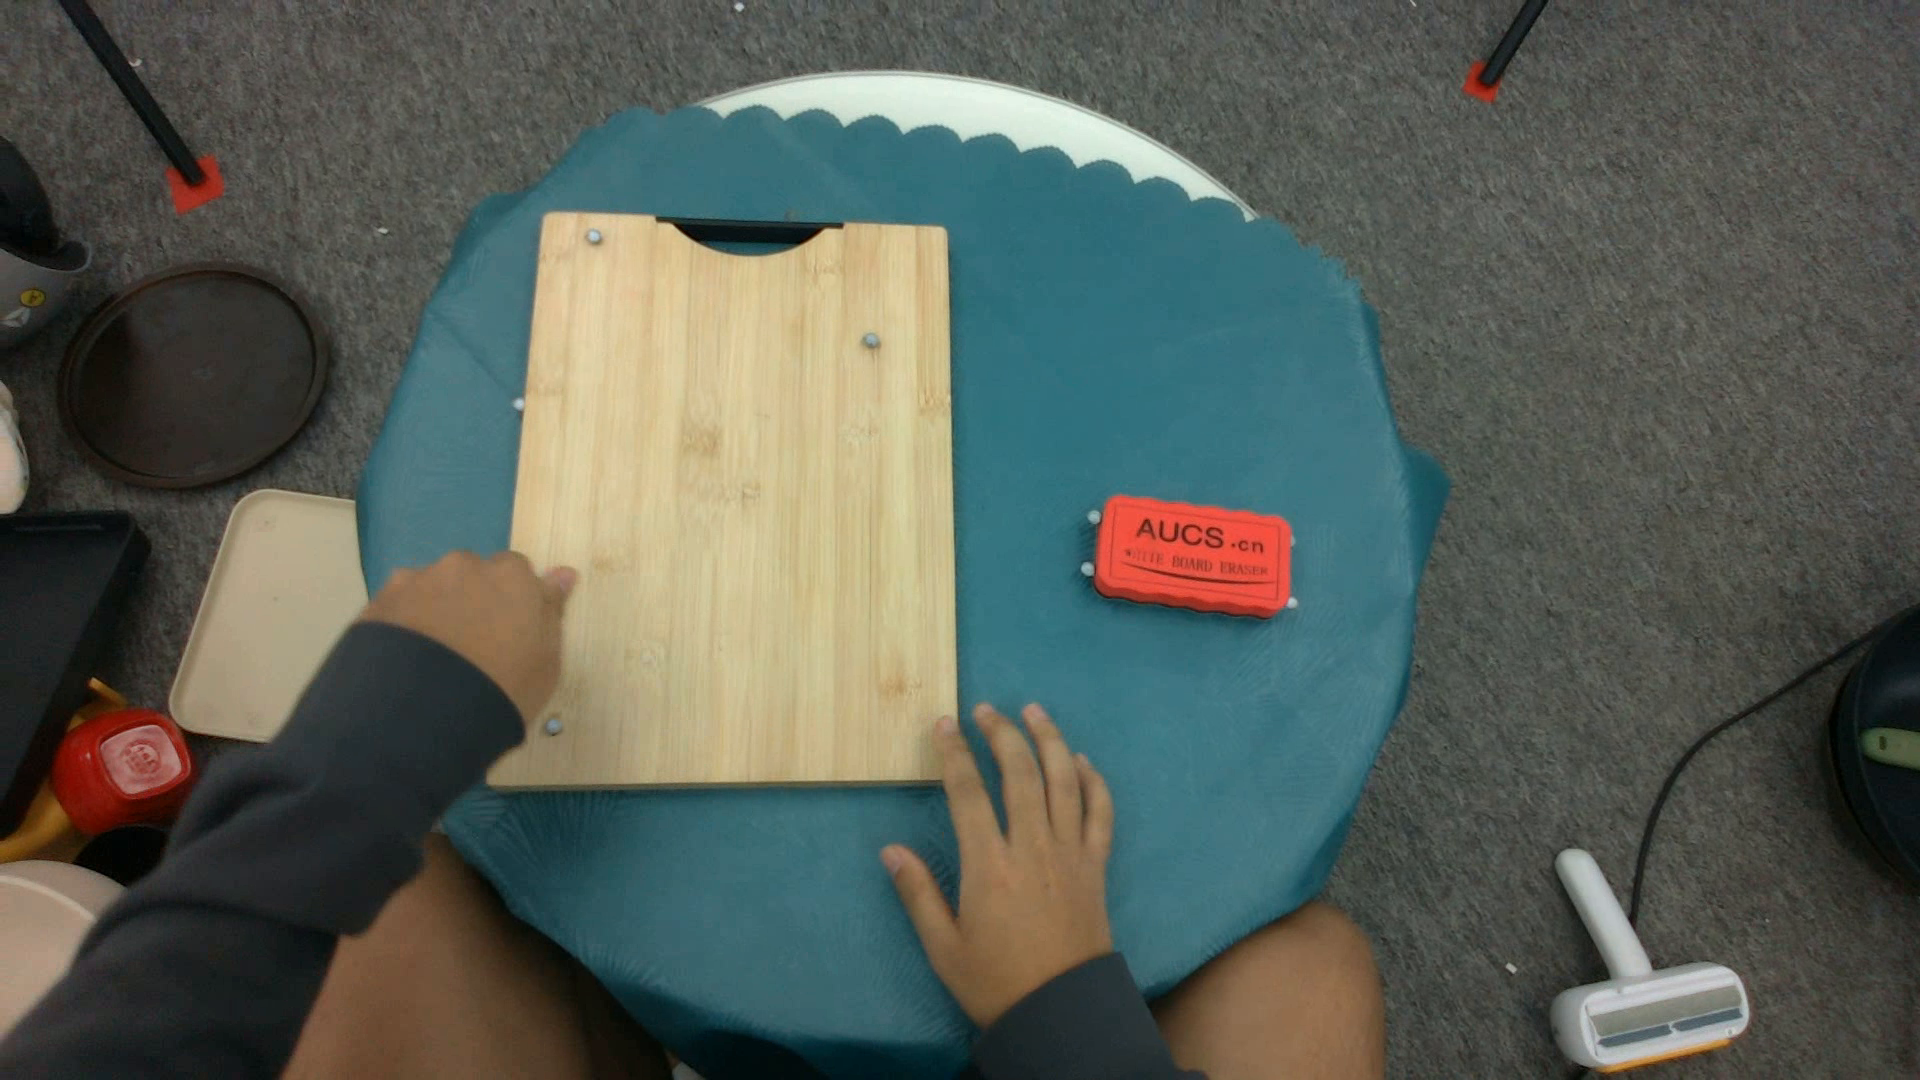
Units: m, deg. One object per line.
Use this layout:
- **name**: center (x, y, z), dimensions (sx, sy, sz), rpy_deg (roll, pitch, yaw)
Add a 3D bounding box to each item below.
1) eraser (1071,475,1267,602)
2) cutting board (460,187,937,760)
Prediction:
- **eraser**: center (0.119, -0.001, 0.781), dimensions (0.108, 0.023, 0.059), rpy_deg (8, 69, -2)
- **cutting board**: center (-0.137, -0.045, 0.775), dimensions (0.251, 0.023, 0.349), rpy_deg (0, 69, -7)
